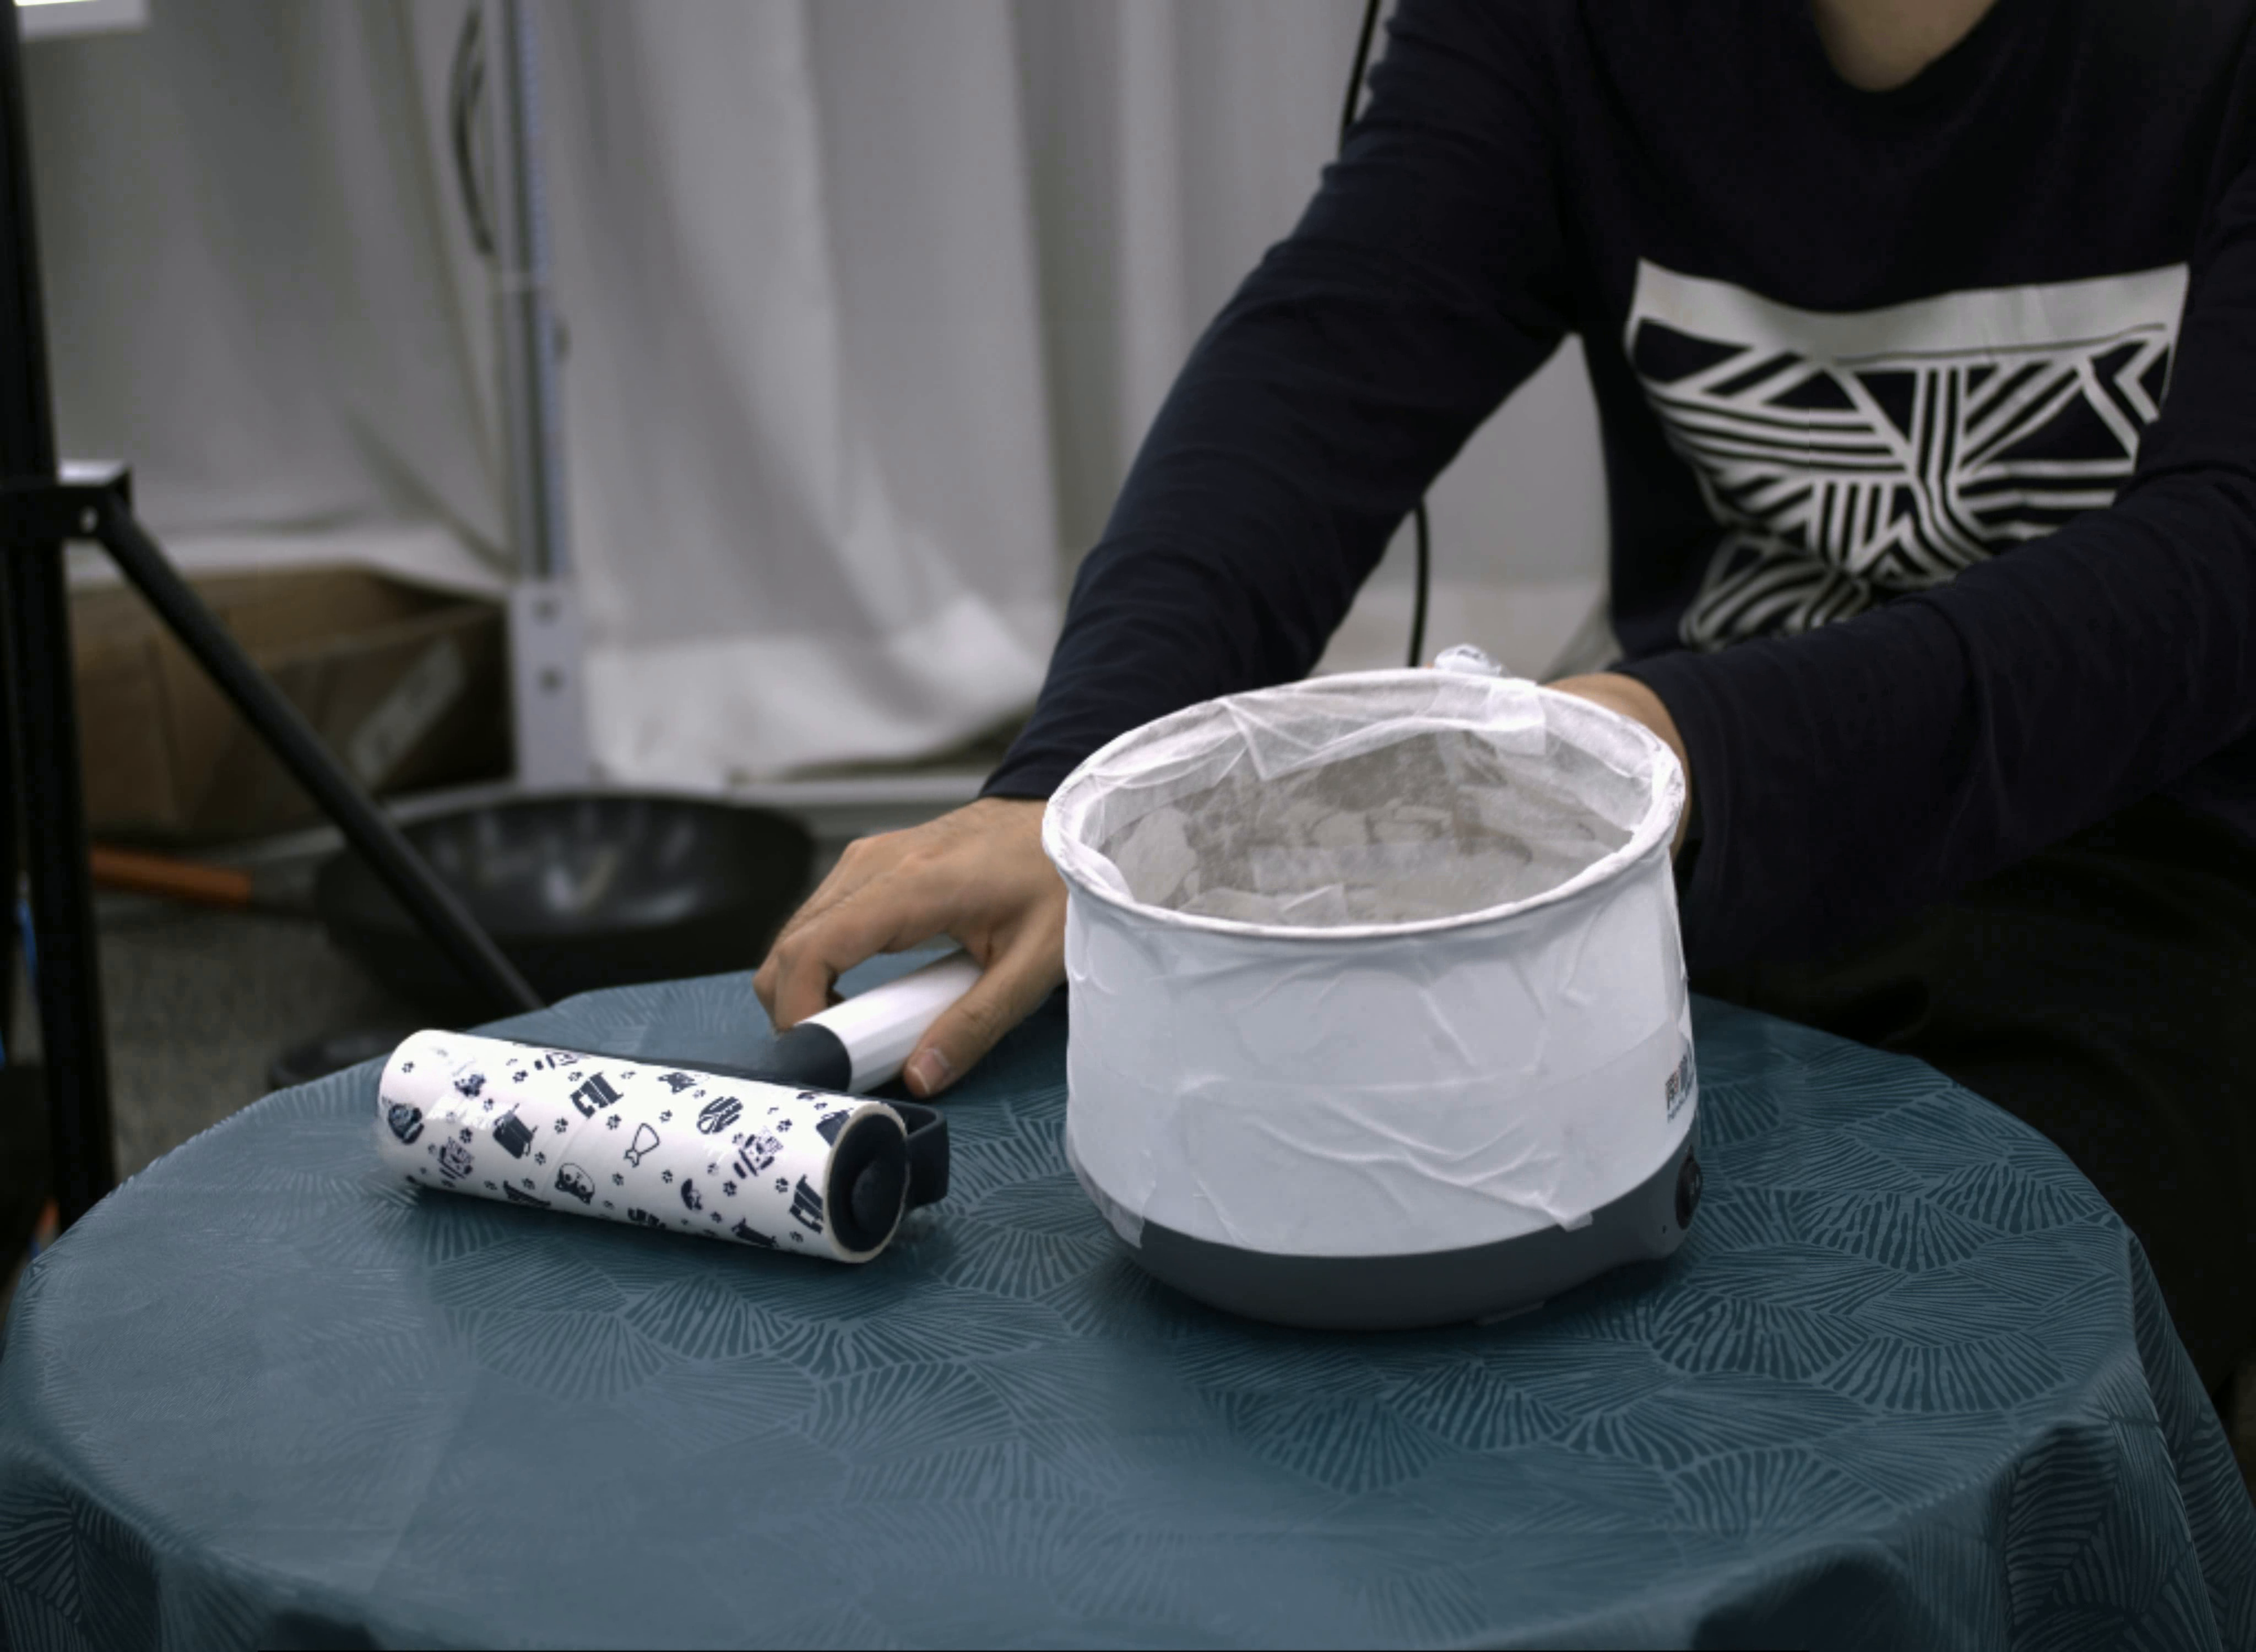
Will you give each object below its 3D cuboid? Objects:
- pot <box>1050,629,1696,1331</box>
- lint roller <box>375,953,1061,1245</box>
[{"bbox_3d":[0.077,0.036,1.502,0.180,0.136,0.232,6,27,17],"label":"pot"},{"bbox_3d":[-0.092,0.069,1.635,0.179,0.050,0.242,6,15,31],"label":"lint roller"}]
